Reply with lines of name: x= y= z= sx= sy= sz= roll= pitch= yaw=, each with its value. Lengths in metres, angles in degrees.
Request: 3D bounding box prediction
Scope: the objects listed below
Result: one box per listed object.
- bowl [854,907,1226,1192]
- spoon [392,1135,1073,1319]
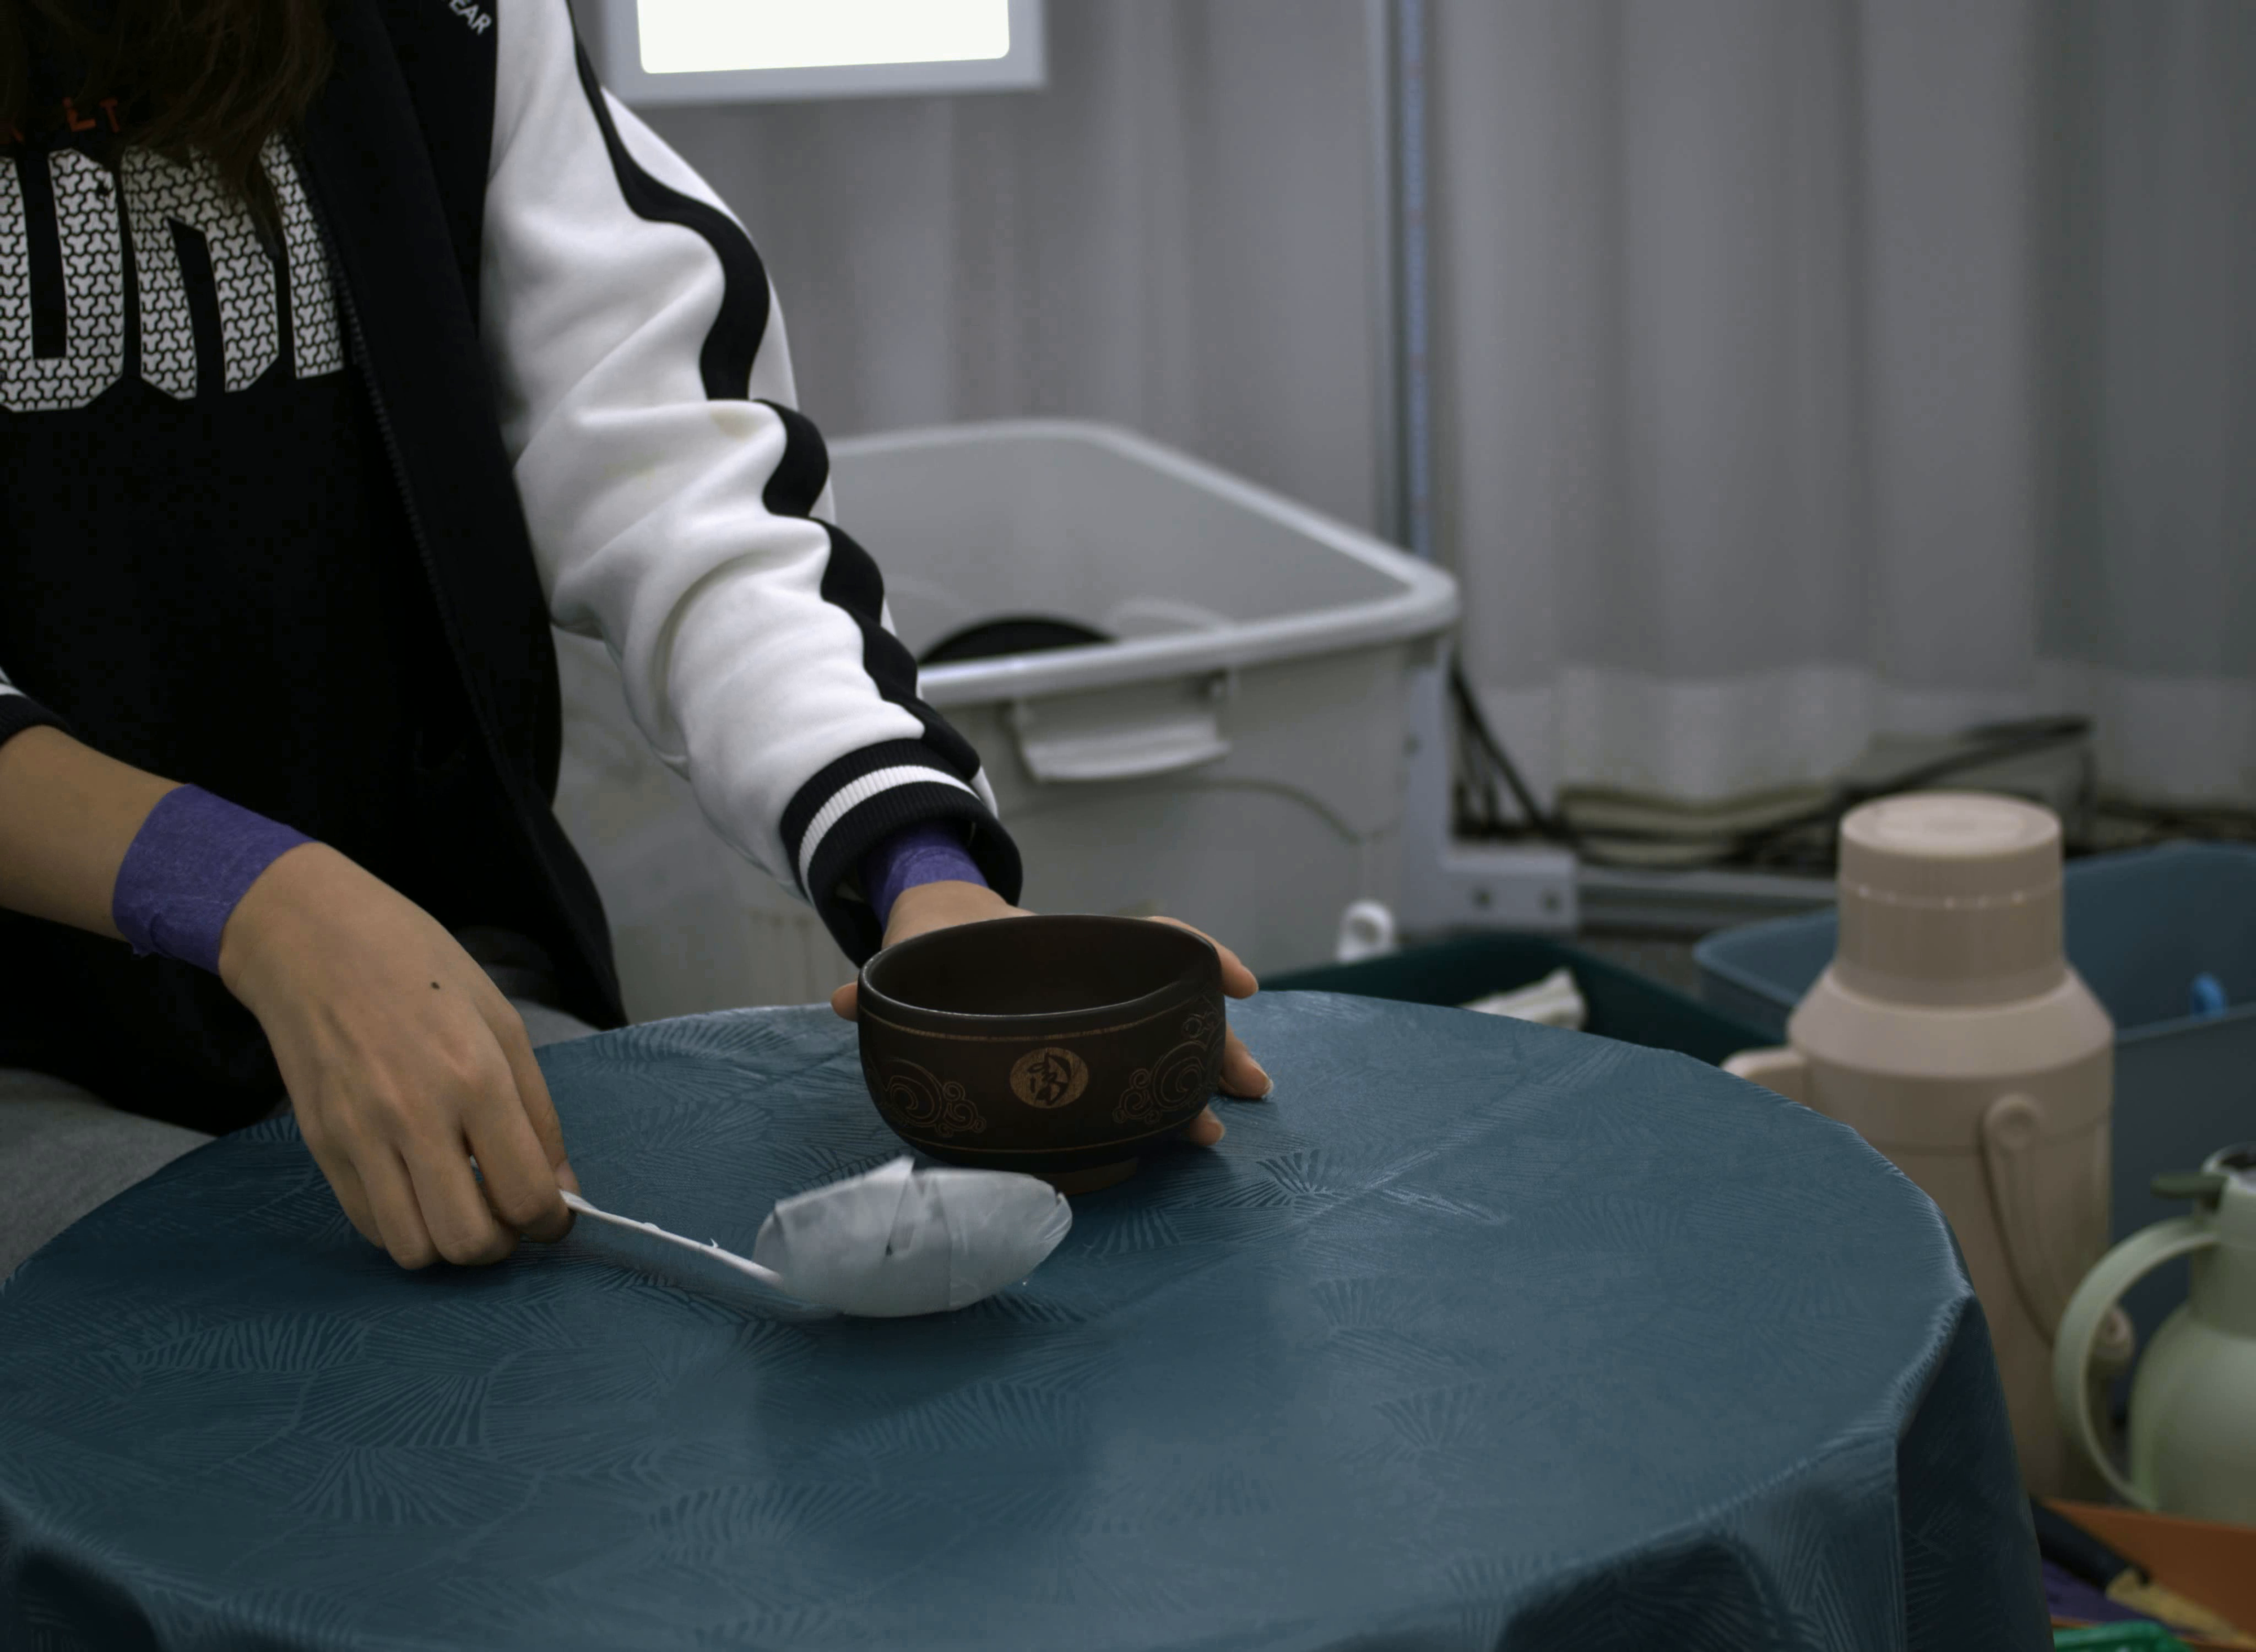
bowl: x=-0.027 y=0.075 z=1.729 sx=0.117 sy=0.069 sz=0.119 roll=-2 pitch=14 yaw=0
spoon: x=-0.128 y=0.103 z=1.666 sx=0.279 sy=0.060 sz=0.099 roll=13 pitch=-14 yaw=47
